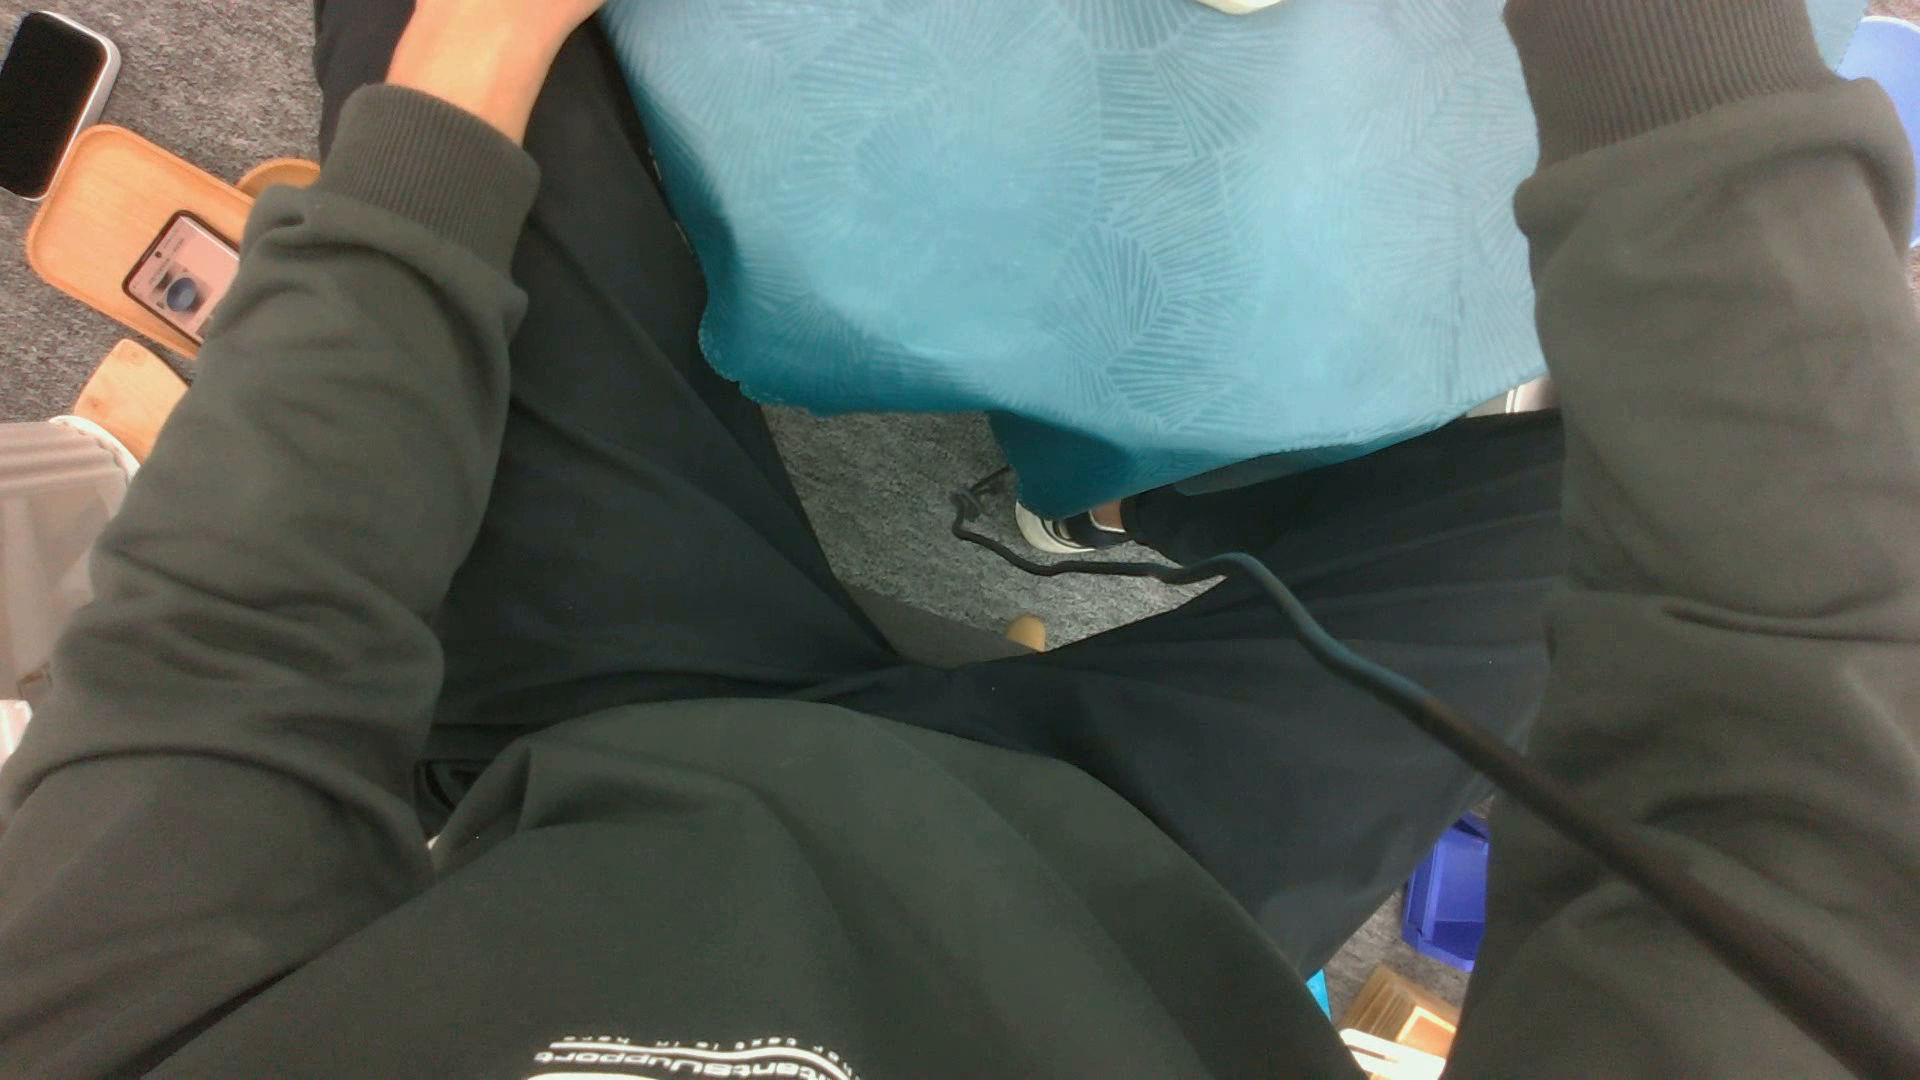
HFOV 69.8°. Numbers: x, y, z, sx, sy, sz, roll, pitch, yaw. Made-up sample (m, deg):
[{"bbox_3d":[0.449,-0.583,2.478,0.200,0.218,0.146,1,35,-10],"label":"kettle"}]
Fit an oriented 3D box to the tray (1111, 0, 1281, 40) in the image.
[{"bbox_3d":[0.013,-0.338,0.545,0.300,0.027,0.191,16,97,-11],"label":"tray"}]
